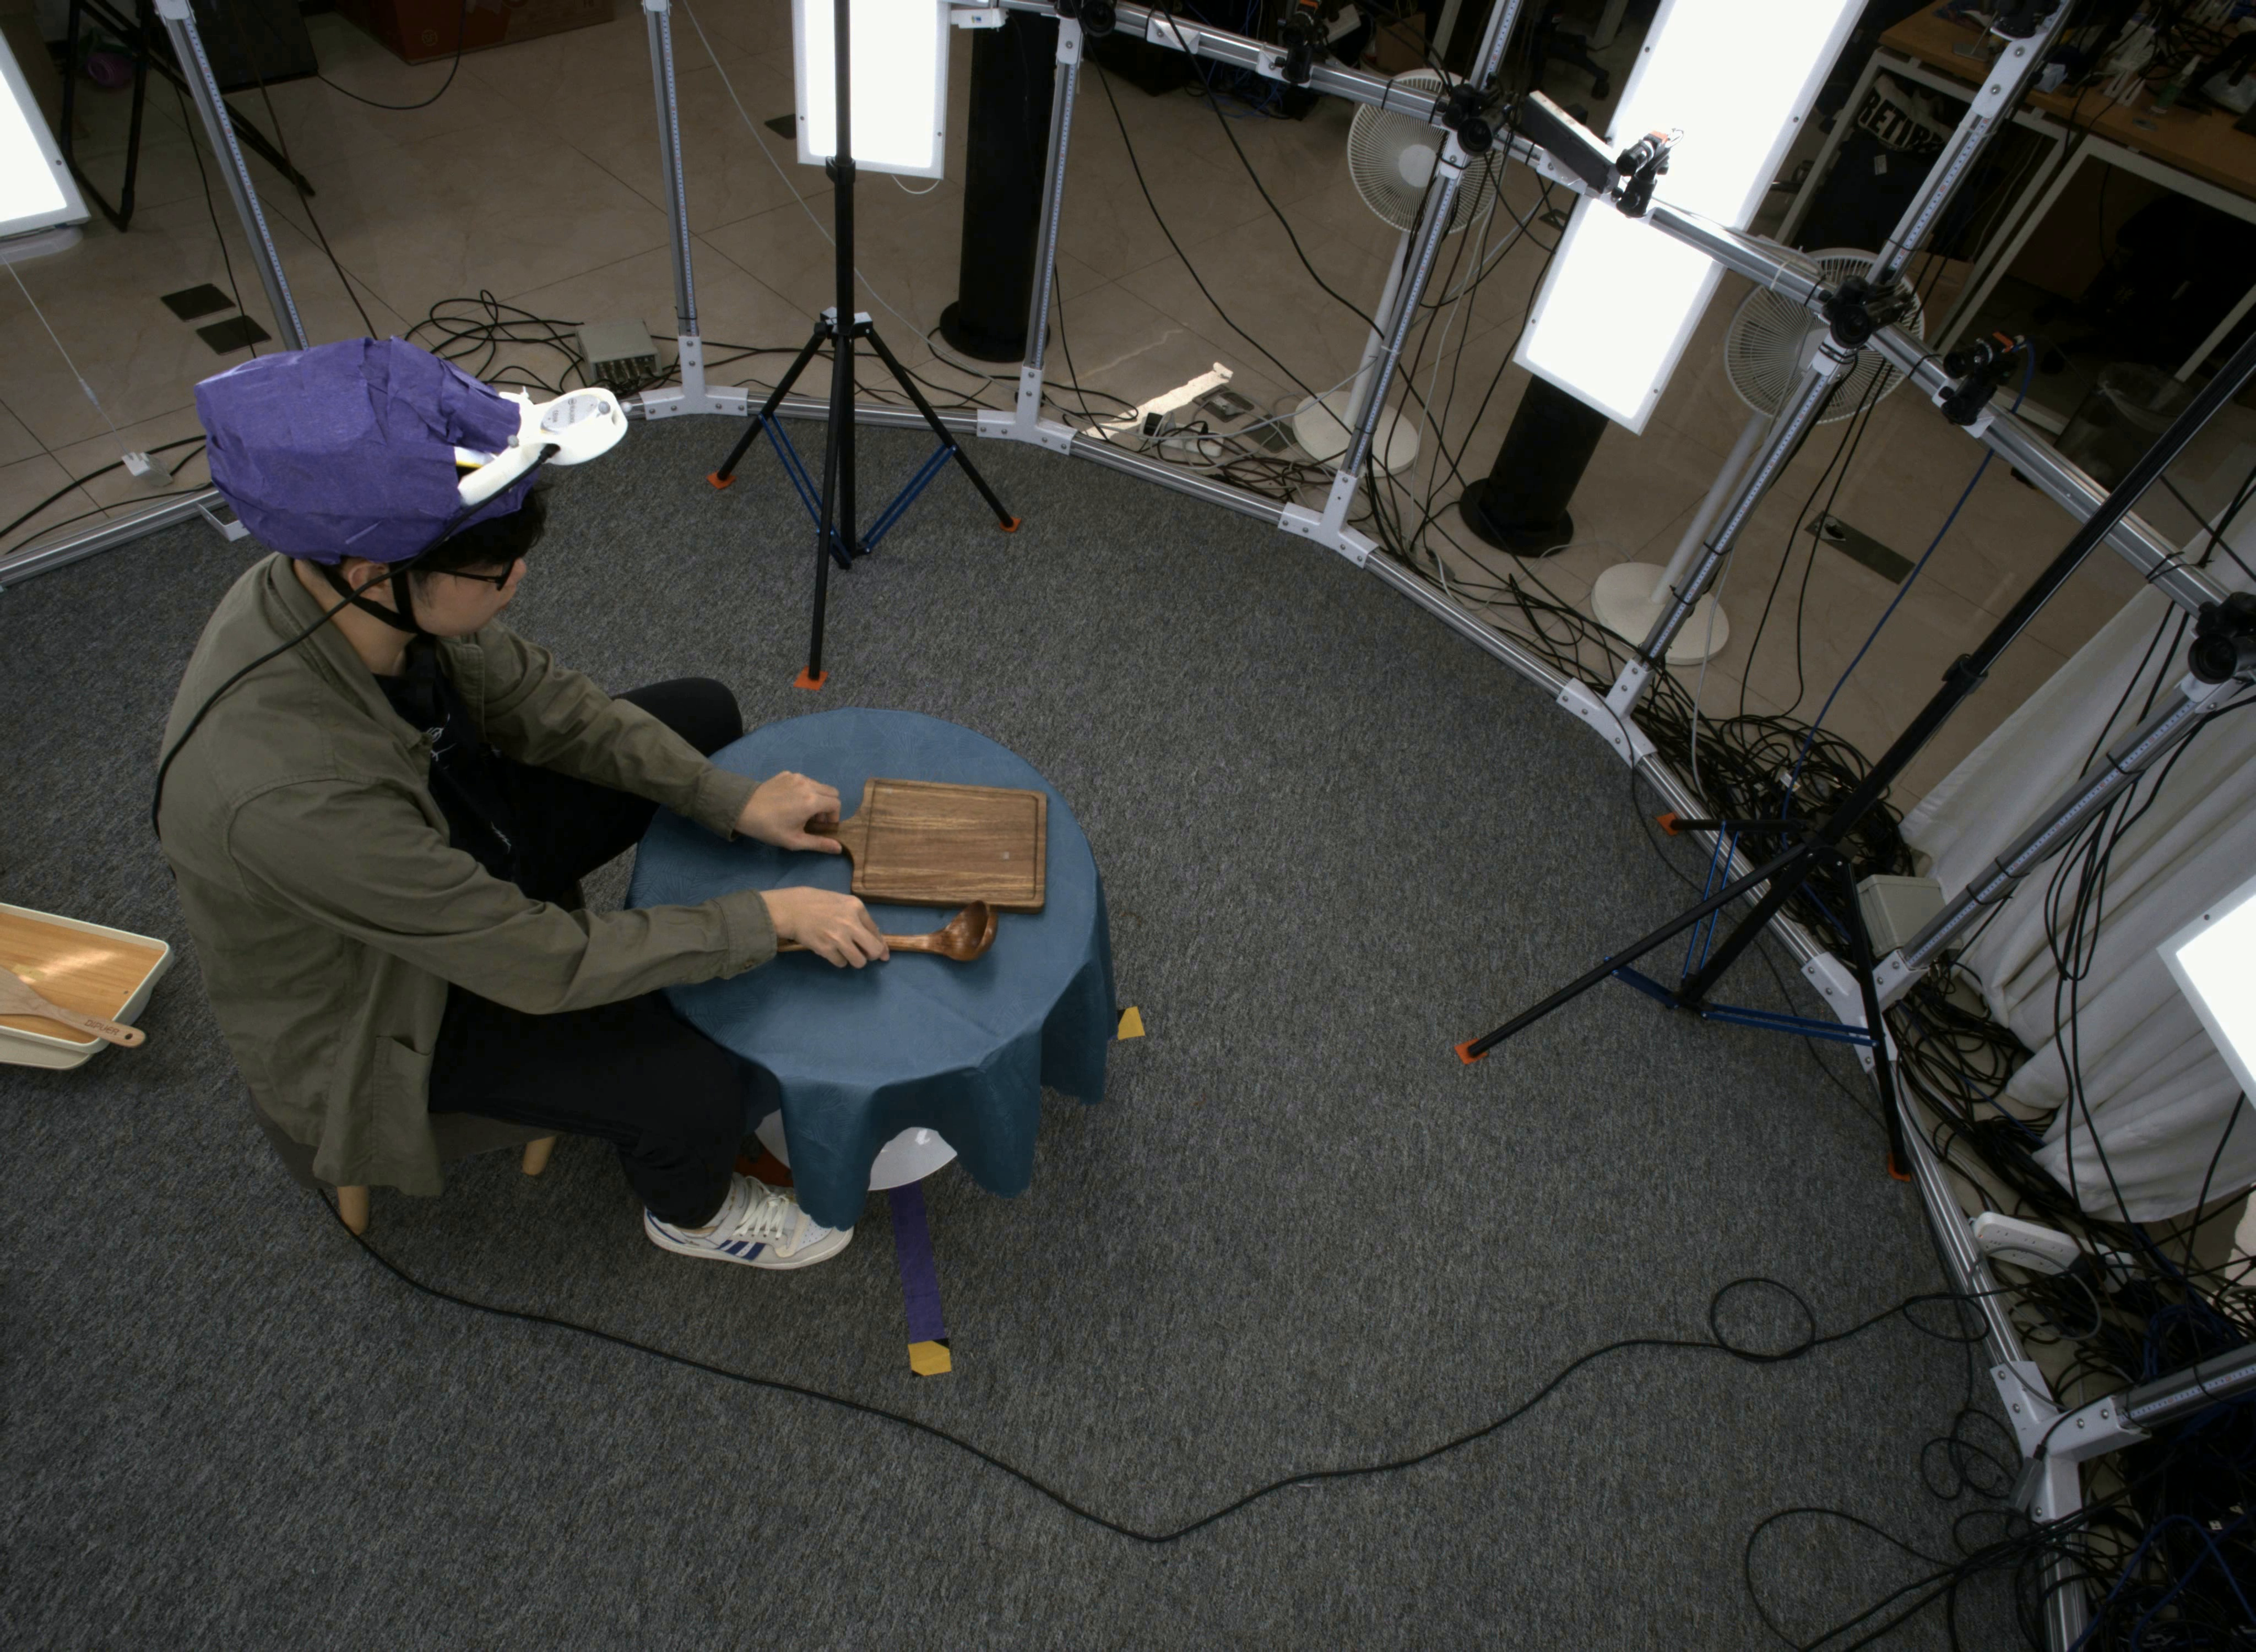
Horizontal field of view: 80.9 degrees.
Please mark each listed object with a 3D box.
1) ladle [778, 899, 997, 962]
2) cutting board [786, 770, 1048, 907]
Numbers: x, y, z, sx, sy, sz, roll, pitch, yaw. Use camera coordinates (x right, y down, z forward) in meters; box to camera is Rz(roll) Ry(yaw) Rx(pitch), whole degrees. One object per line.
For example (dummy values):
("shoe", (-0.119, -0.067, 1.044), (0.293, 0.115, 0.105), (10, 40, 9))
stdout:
("ladle", (-0.301, 0.130, 1.626), (0.274, 0.078, 0.080), (2, 45, -11))
("cutting board", (-0.283, 0.009, 1.754), (0.351, 0.023, 0.197), (6, 53, -9))
